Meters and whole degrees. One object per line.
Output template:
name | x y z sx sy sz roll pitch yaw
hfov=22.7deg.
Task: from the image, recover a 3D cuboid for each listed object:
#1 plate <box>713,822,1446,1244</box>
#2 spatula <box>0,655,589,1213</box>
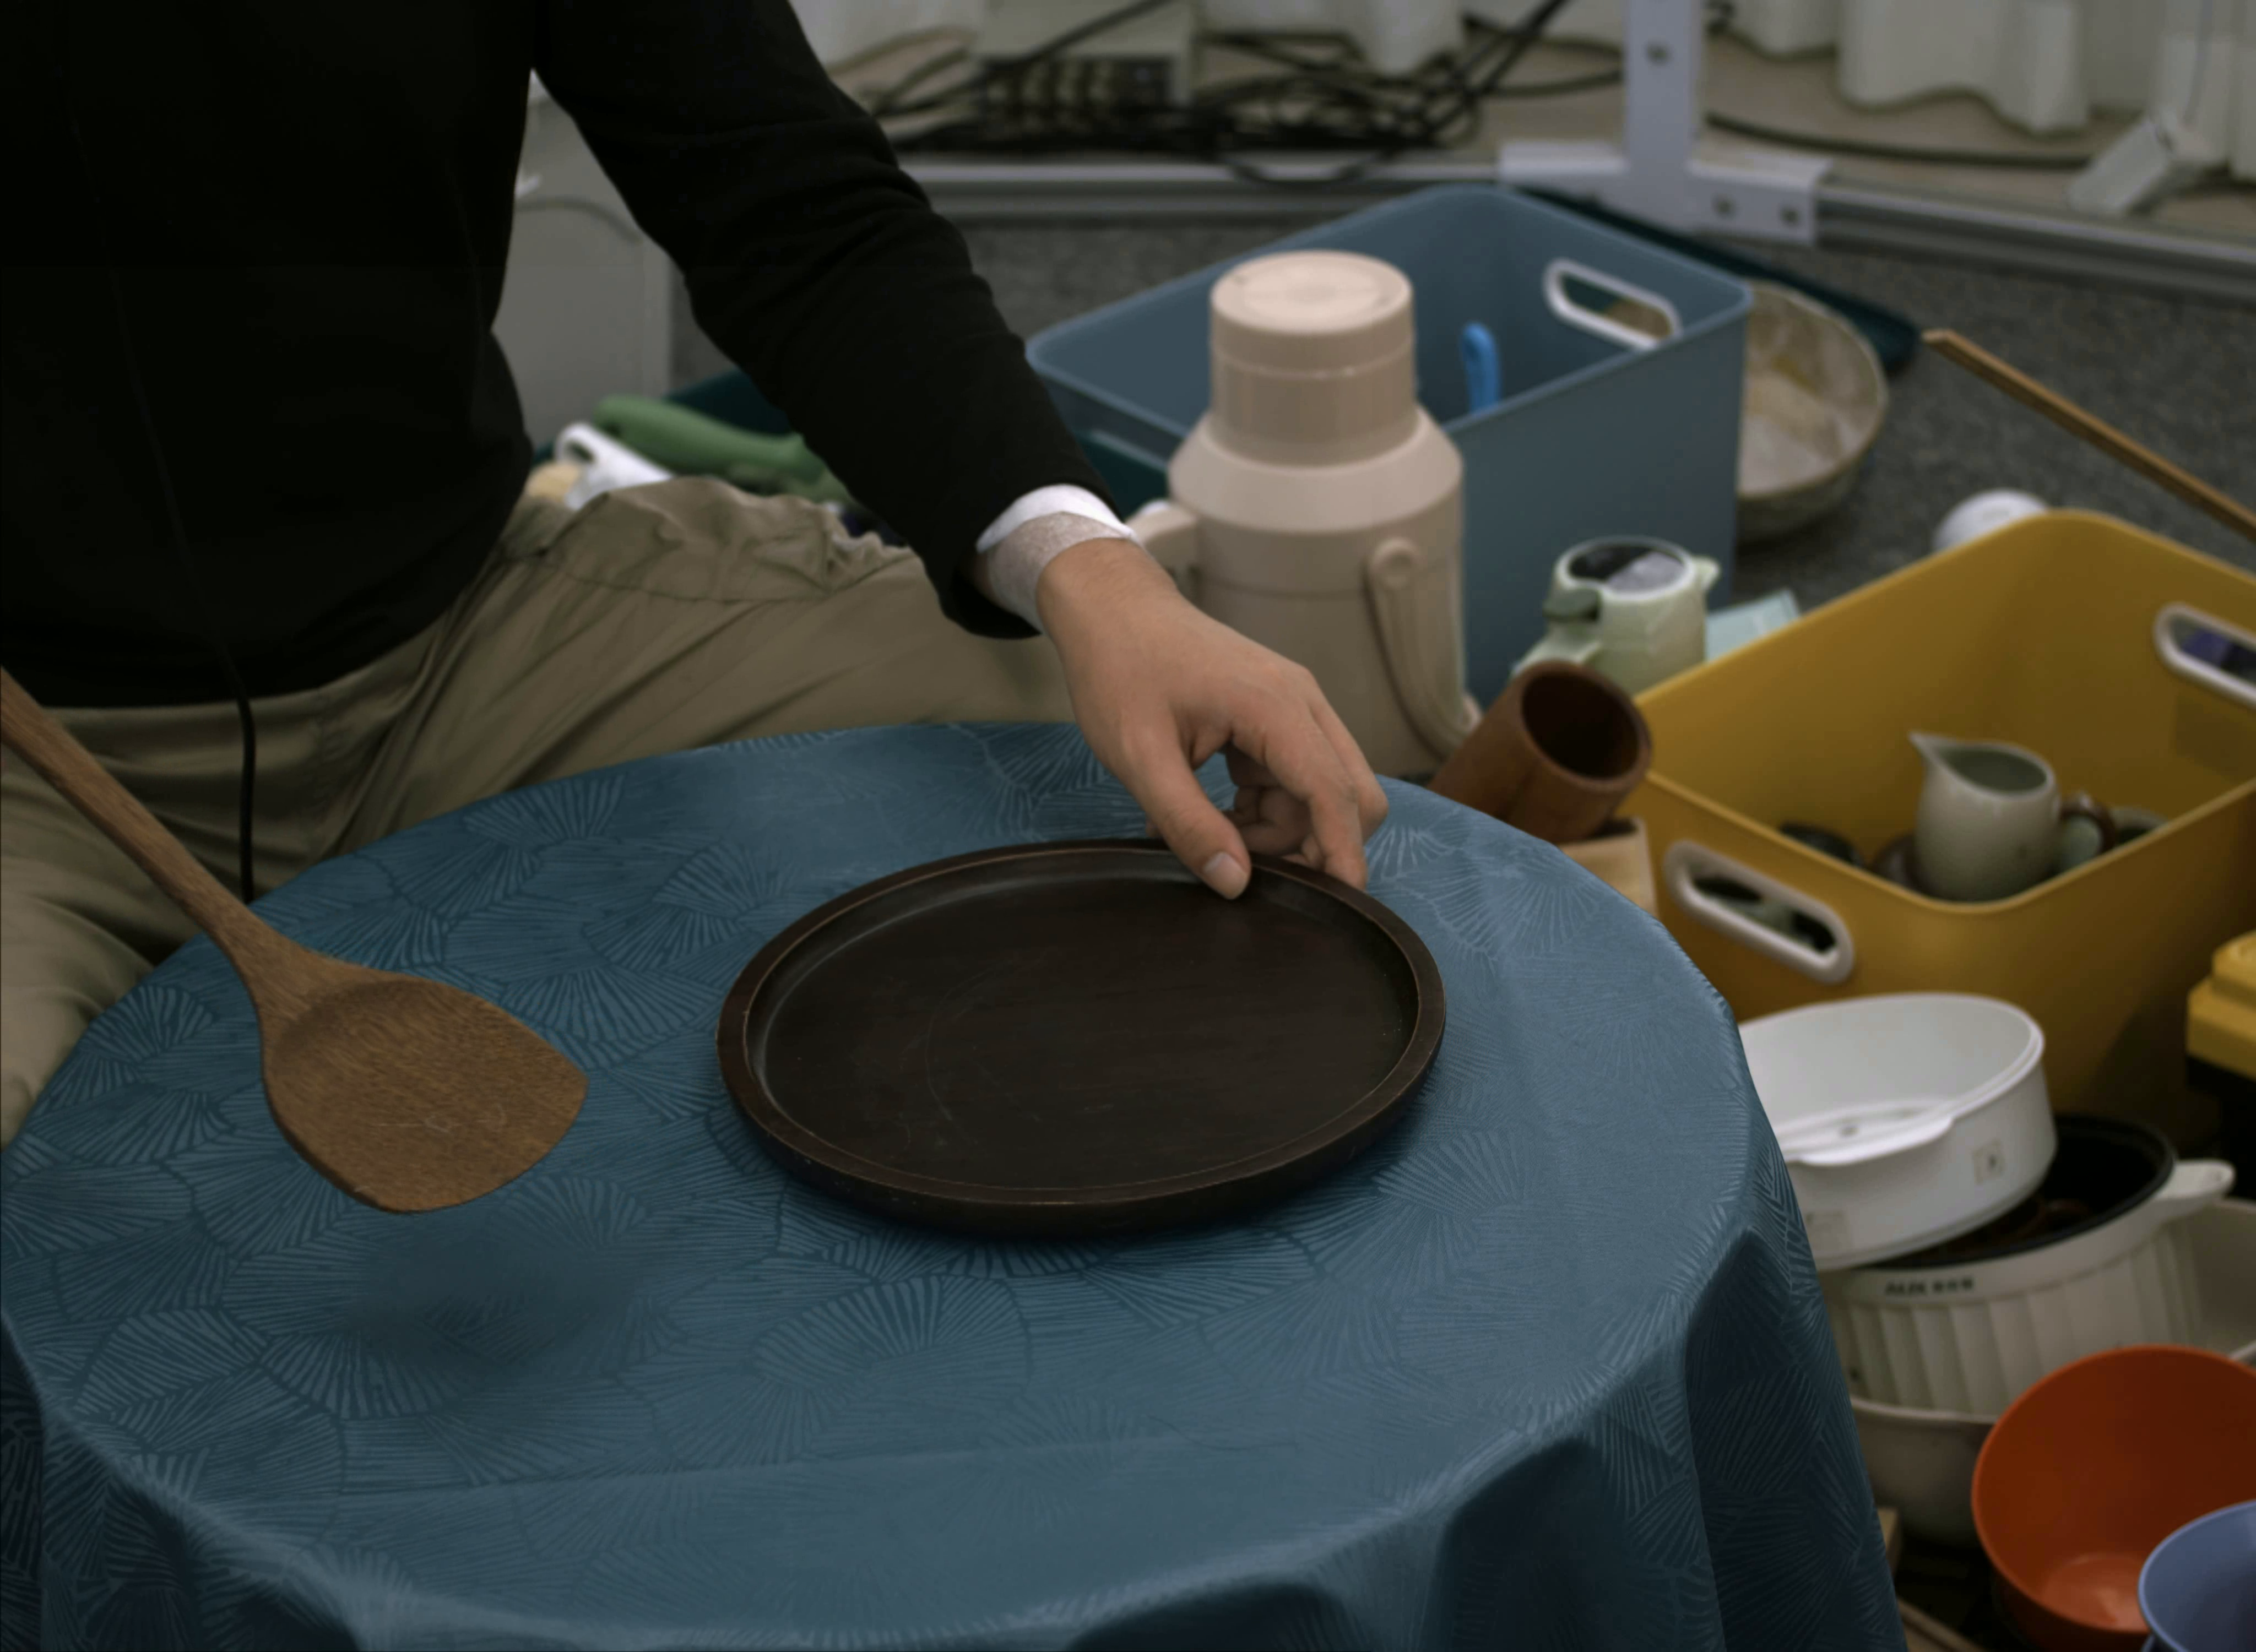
plate | -0.016 0.072 1.932 0.253 0.029 0.259 -3 28 2
spatula | -0.331 -0.008 1.825 0.387 0.015 0.097 41 47 18
